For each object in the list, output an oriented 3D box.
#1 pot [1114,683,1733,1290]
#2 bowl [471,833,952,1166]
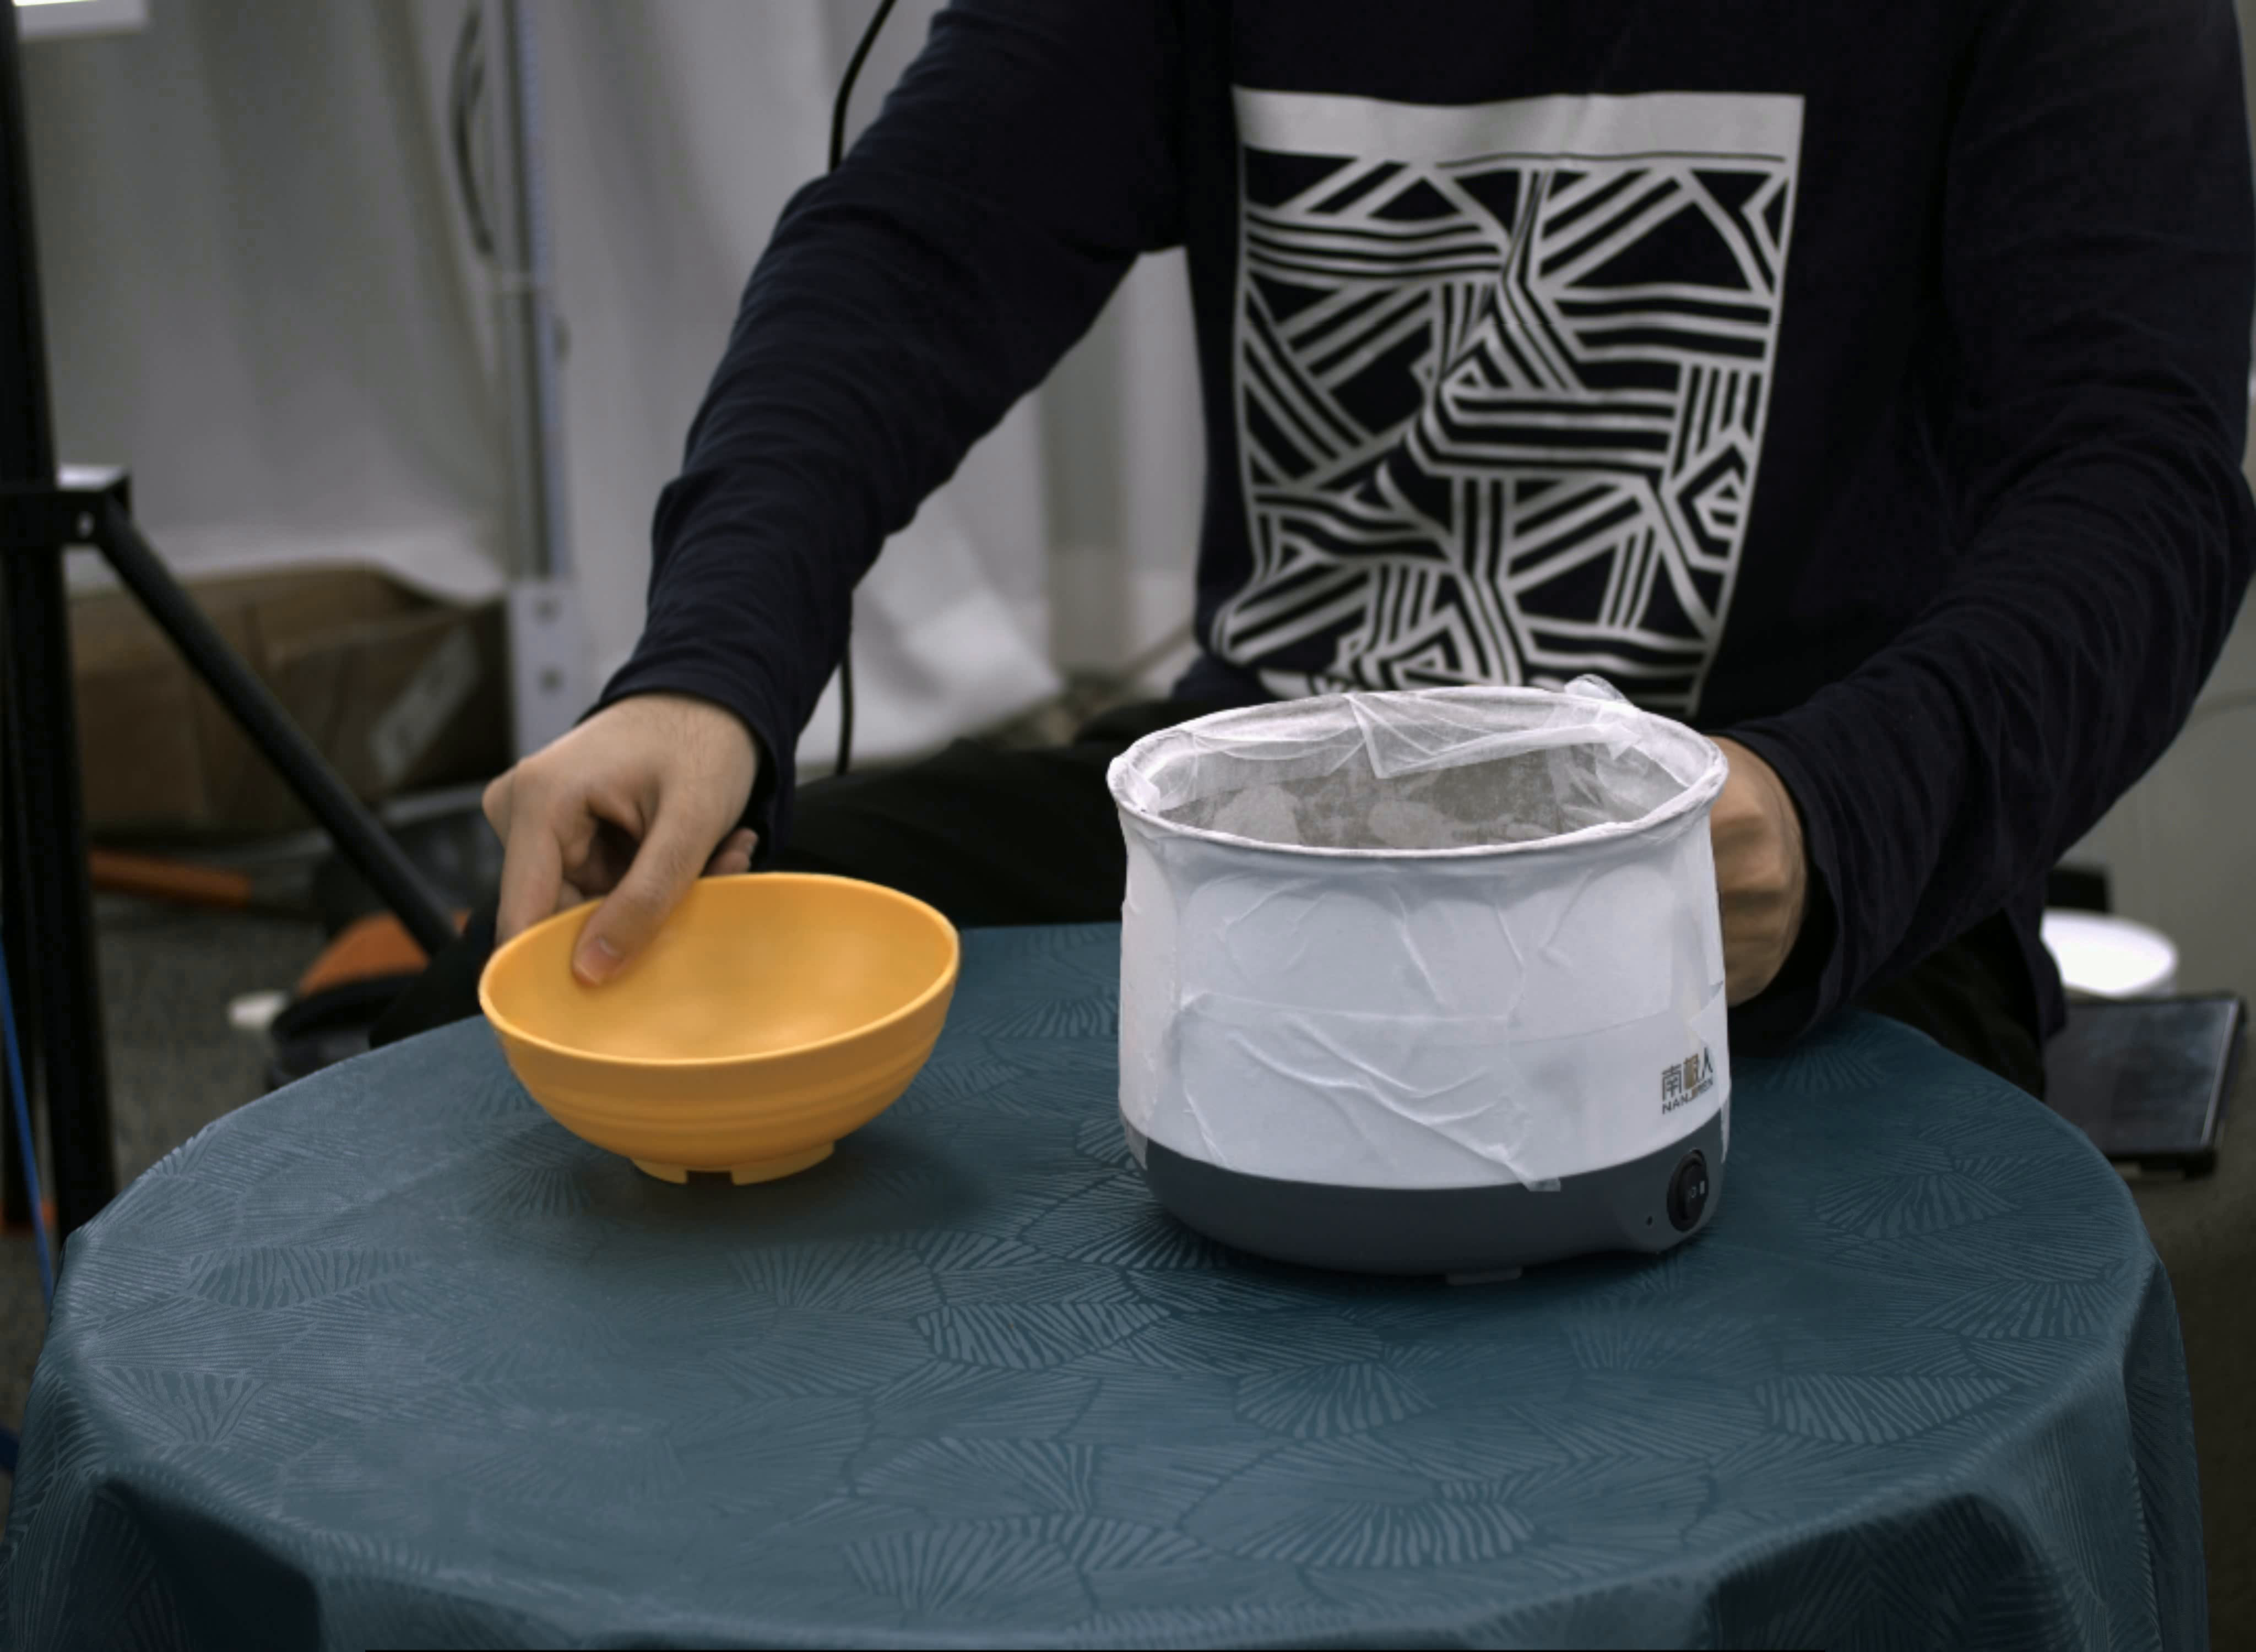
[{"bbox_3d":[0.100,0.040,1.545,0.182,0.136,0.229,8,17,33],"label":"pot"},{"bbox_3d":[-0.122,0.061,1.602,0.145,0.060,0.146,-6,26,1],"label":"bowl"}]
